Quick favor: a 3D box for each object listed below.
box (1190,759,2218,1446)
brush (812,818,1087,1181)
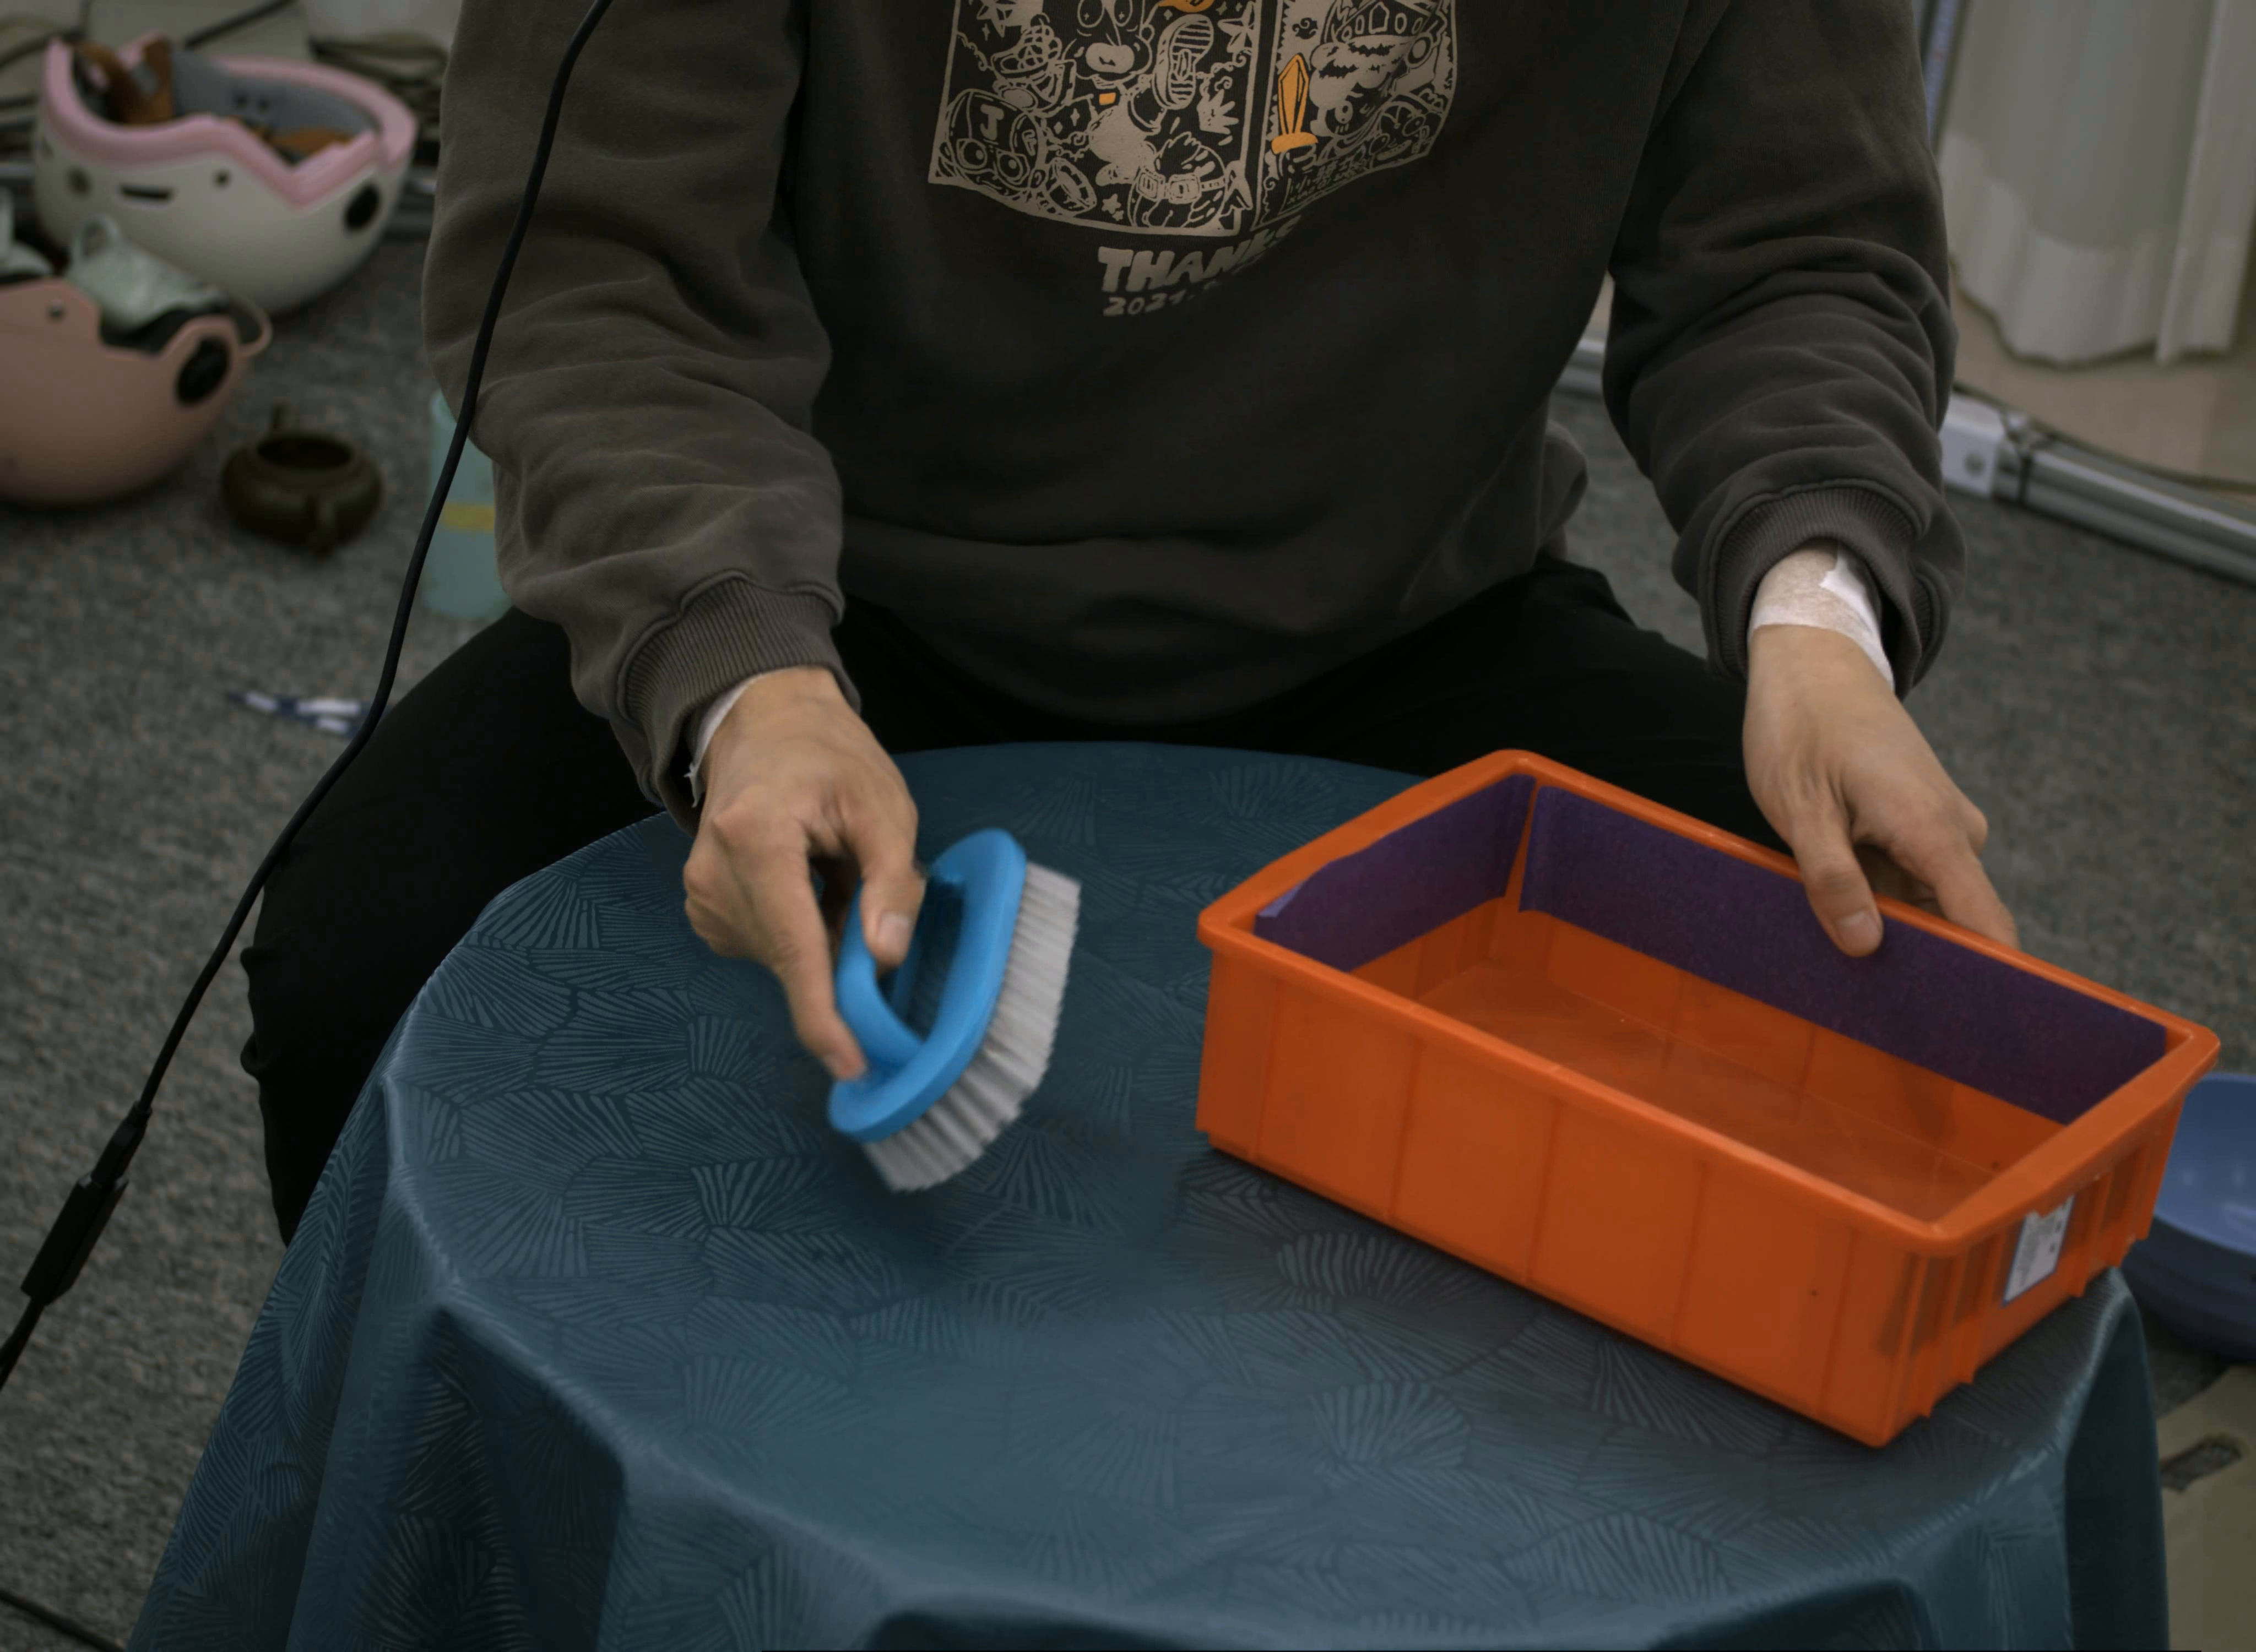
[{"bbox_3d":[0.190,0.090,1.815,0.305,0.096,0.206,24,30,30],"label":"box"},{"bbox_3d":[-0.069,0.049,1.762,0.063,0.084,0.142,40,38,-19],"label":"brush"}]
